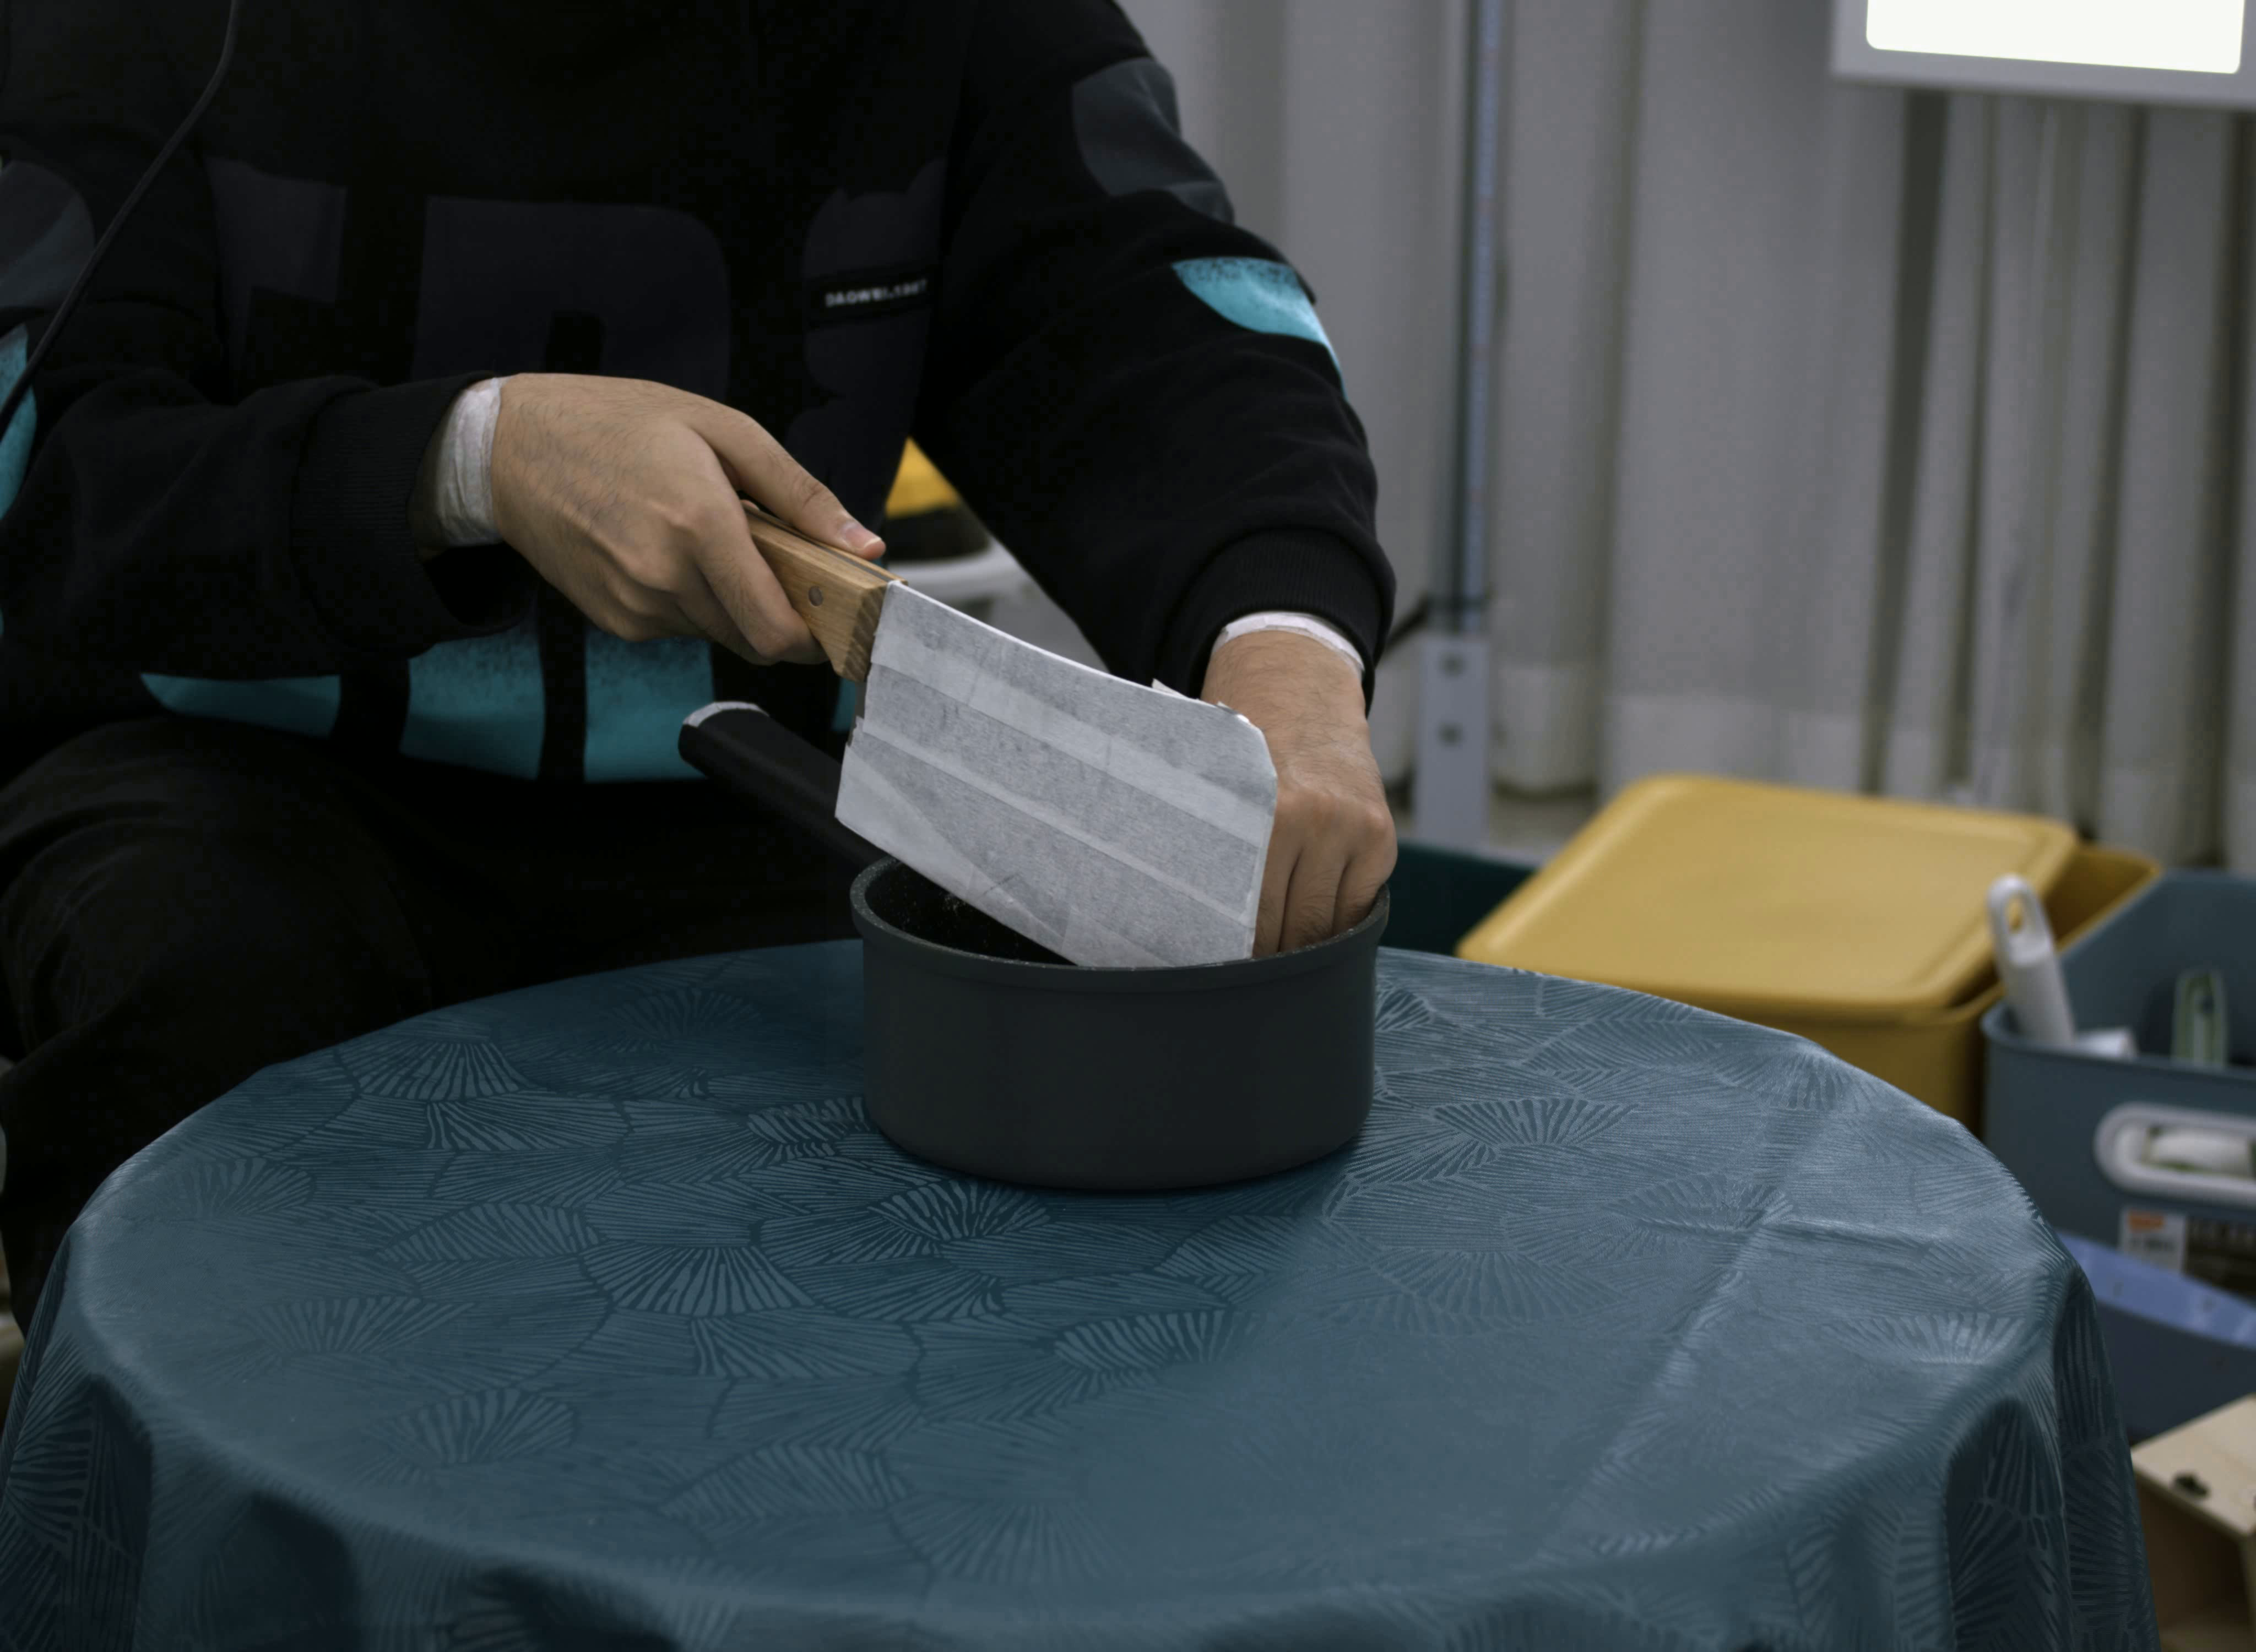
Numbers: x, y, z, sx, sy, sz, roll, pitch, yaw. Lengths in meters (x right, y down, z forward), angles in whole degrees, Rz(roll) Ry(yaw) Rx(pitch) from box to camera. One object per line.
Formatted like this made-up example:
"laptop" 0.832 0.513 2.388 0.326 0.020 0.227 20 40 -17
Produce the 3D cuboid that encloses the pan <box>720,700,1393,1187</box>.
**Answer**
"pan" -0.045 0.035 1.740 0.173 0.087 0.324 -7 18 -33

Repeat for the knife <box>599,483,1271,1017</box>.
"knife" -0.064 -0.040 1.686 0.311 0.115 0.022 31 27 36
